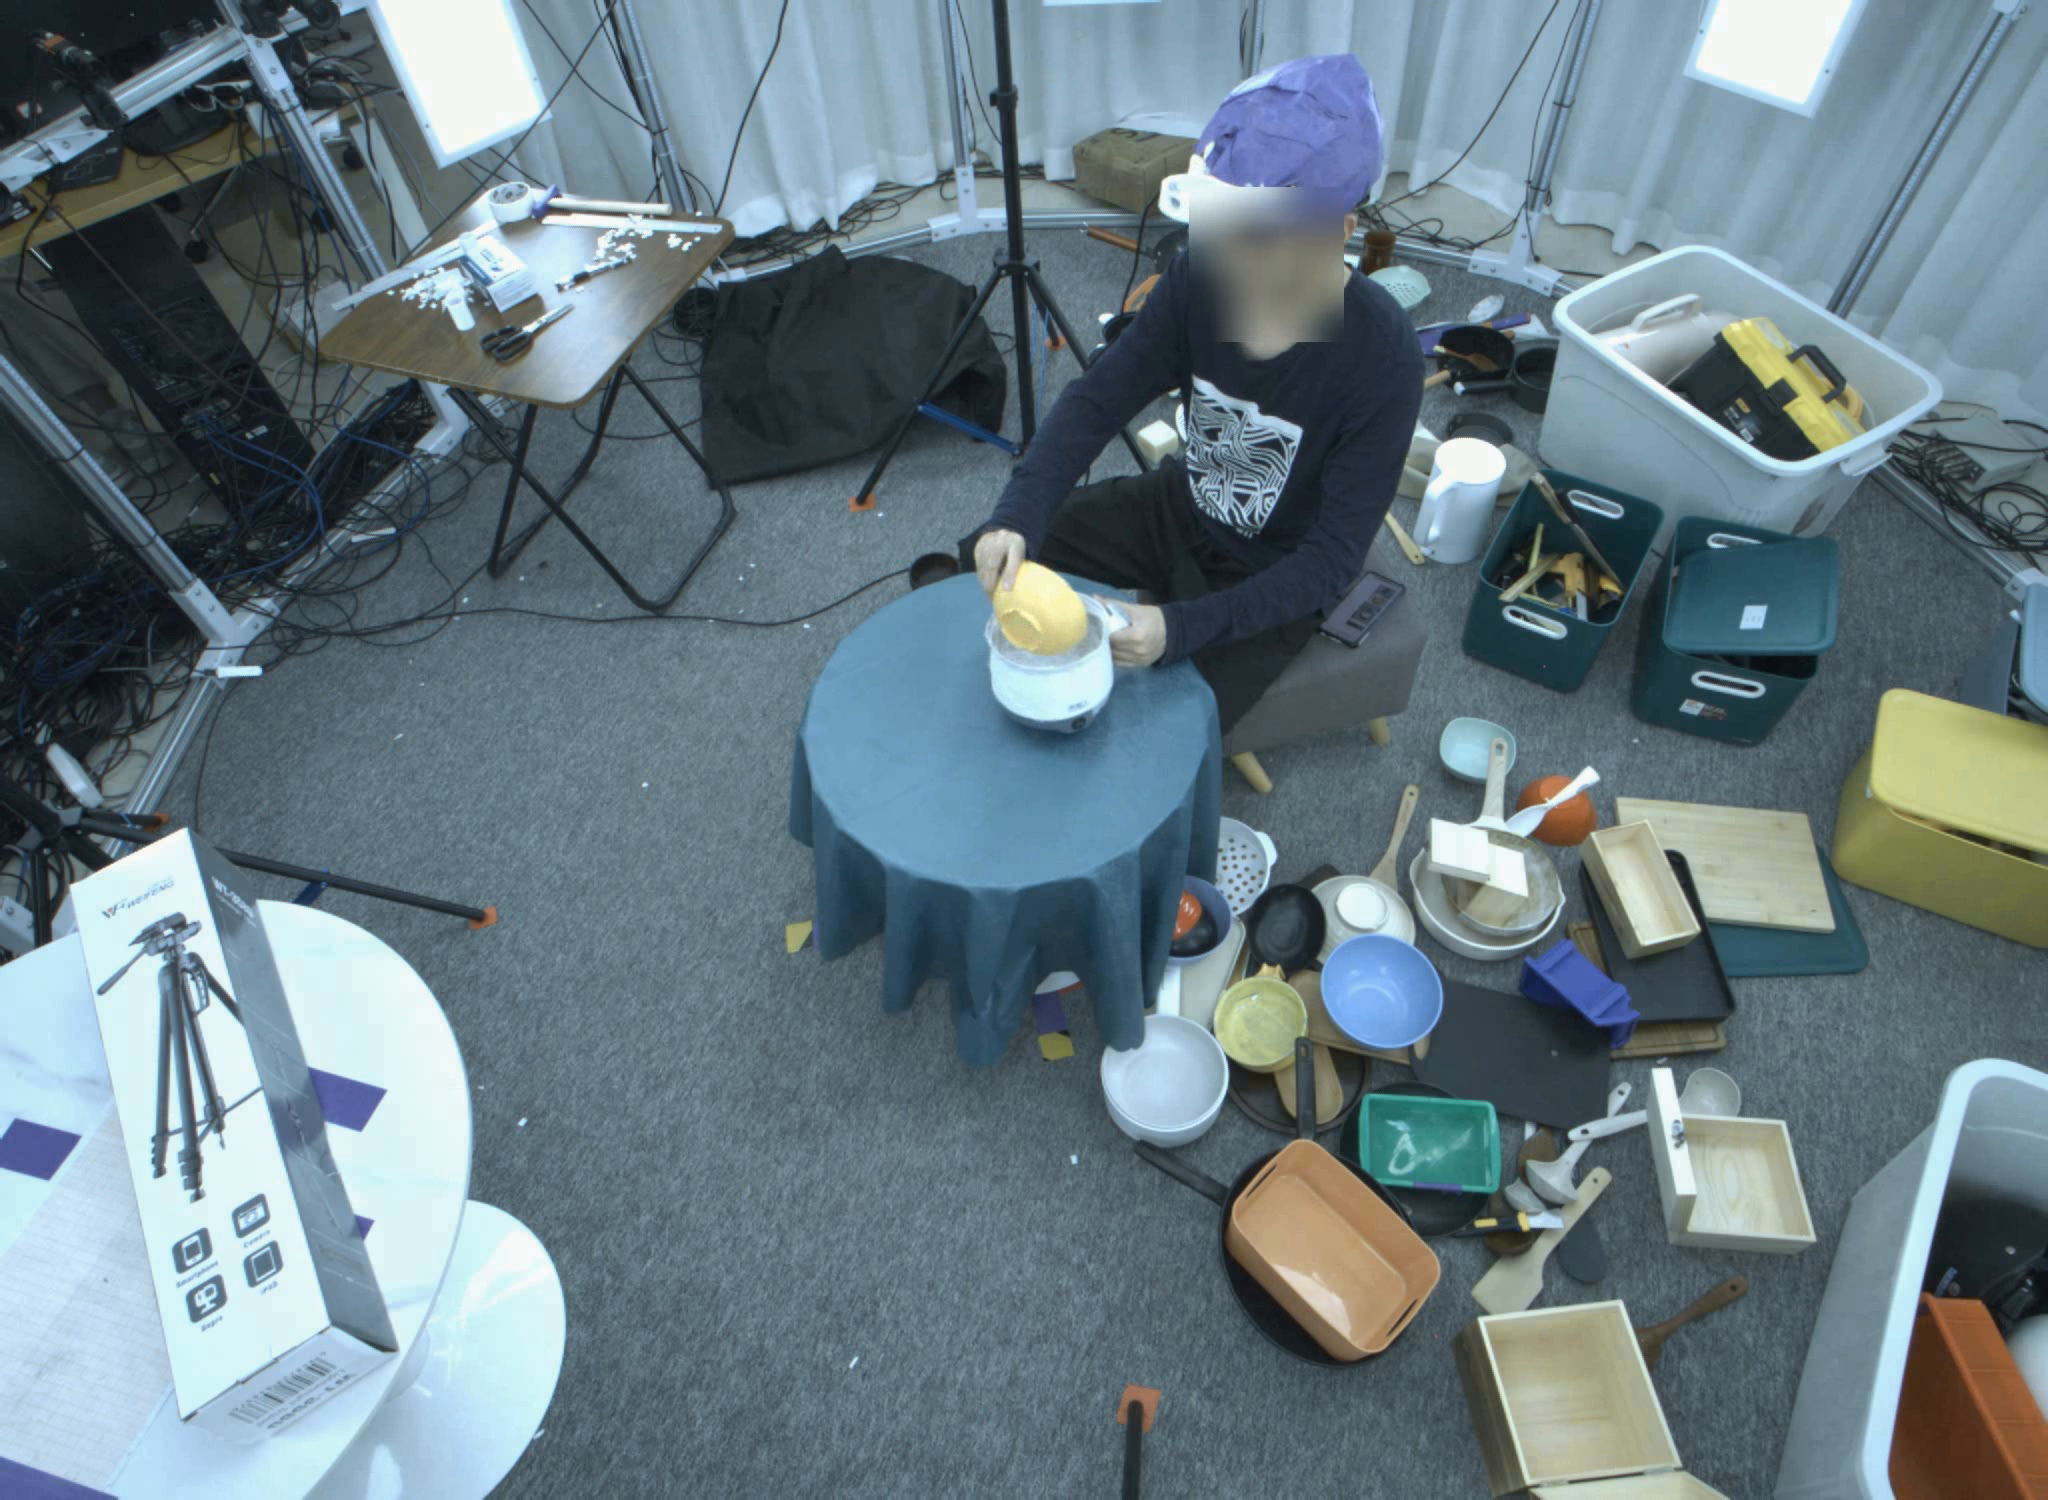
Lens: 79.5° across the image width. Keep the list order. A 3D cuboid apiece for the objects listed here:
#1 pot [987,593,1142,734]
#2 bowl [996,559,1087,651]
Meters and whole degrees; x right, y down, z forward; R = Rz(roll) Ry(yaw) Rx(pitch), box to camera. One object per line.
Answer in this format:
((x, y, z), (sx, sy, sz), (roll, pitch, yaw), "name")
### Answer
((0.064, -0.136, 1.790), (0.236, 0.138, 0.175), (-20, 48, -18), "pot")
((0.011, -0.183, 1.667), (0.143, 0.147, 0.060), (29, 61, 21), "bowl")
